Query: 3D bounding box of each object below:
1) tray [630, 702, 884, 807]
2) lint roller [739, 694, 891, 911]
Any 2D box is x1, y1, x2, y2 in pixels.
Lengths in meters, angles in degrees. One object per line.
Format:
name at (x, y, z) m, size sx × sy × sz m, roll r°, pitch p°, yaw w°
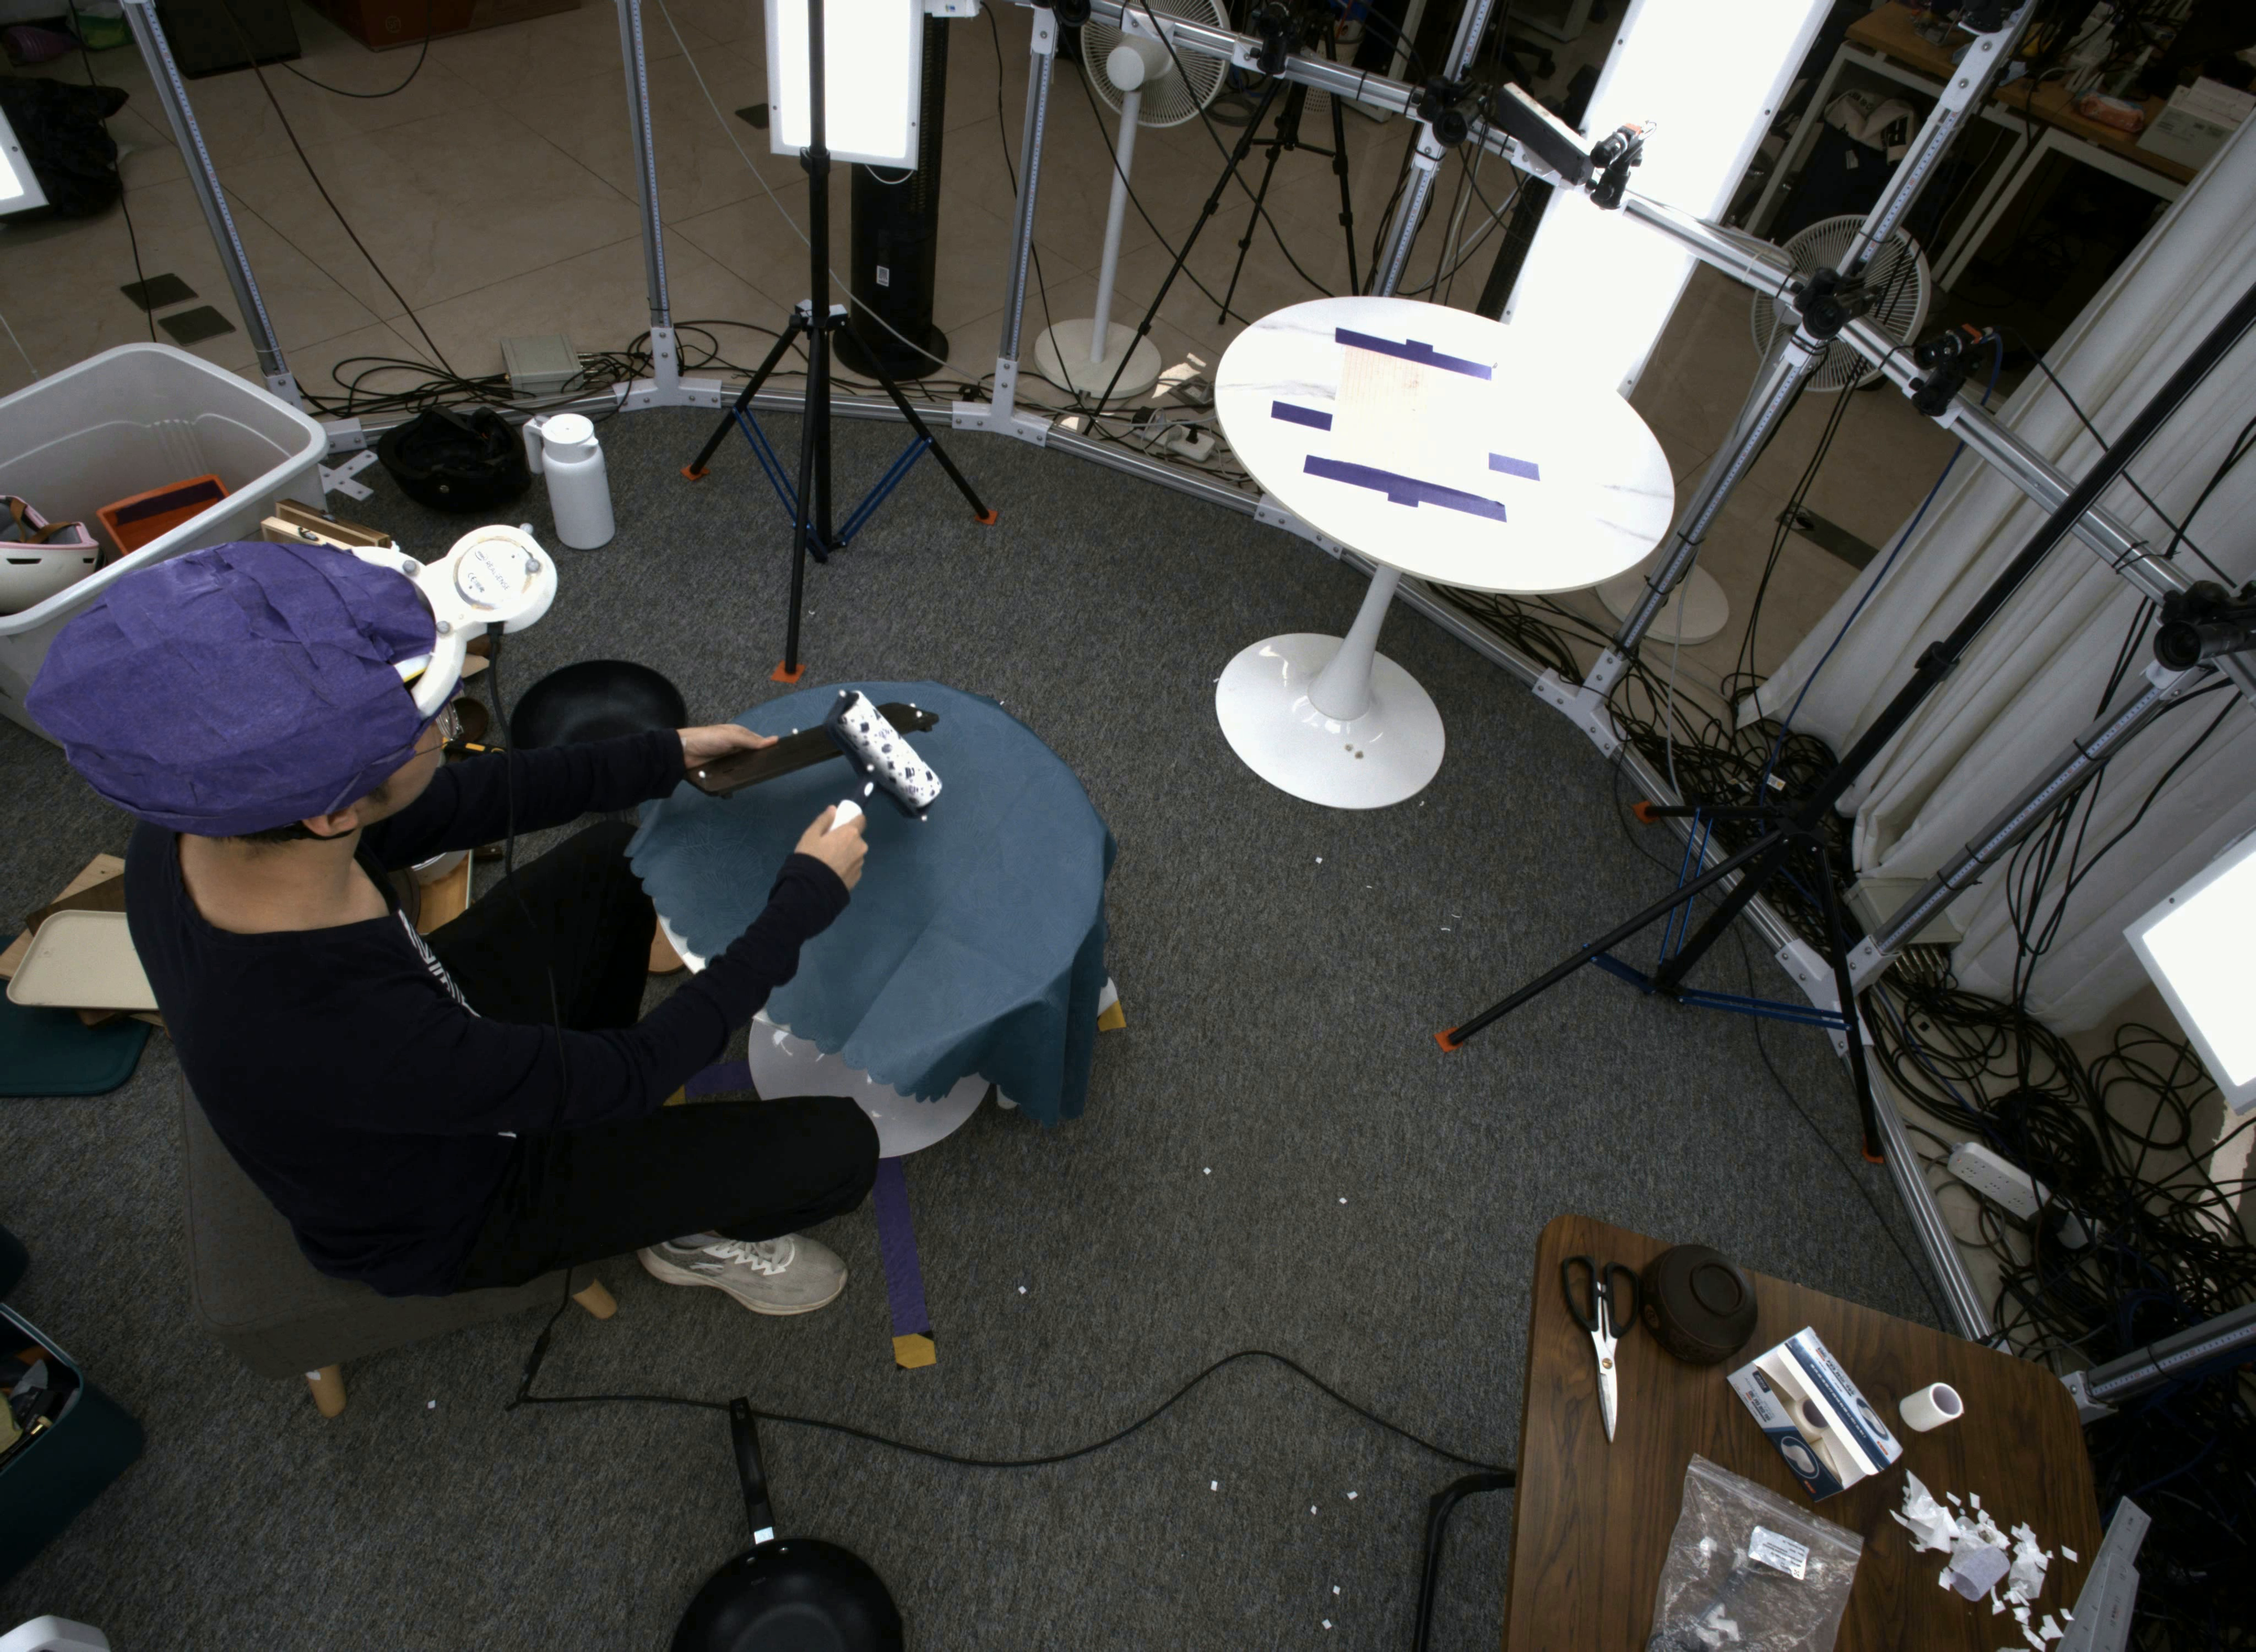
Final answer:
tray at (-0.471, -0.093, 1.635) m, size 0.307 × 0.019 × 0.164 m, roll -25°, pitch 22°, yaw -28°
lint roller at (-0.381, -0.008, 1.506) m, size 0.049 × 0.183 × 0.245 m, roll -6°, pitch 49°, yaw 34°
